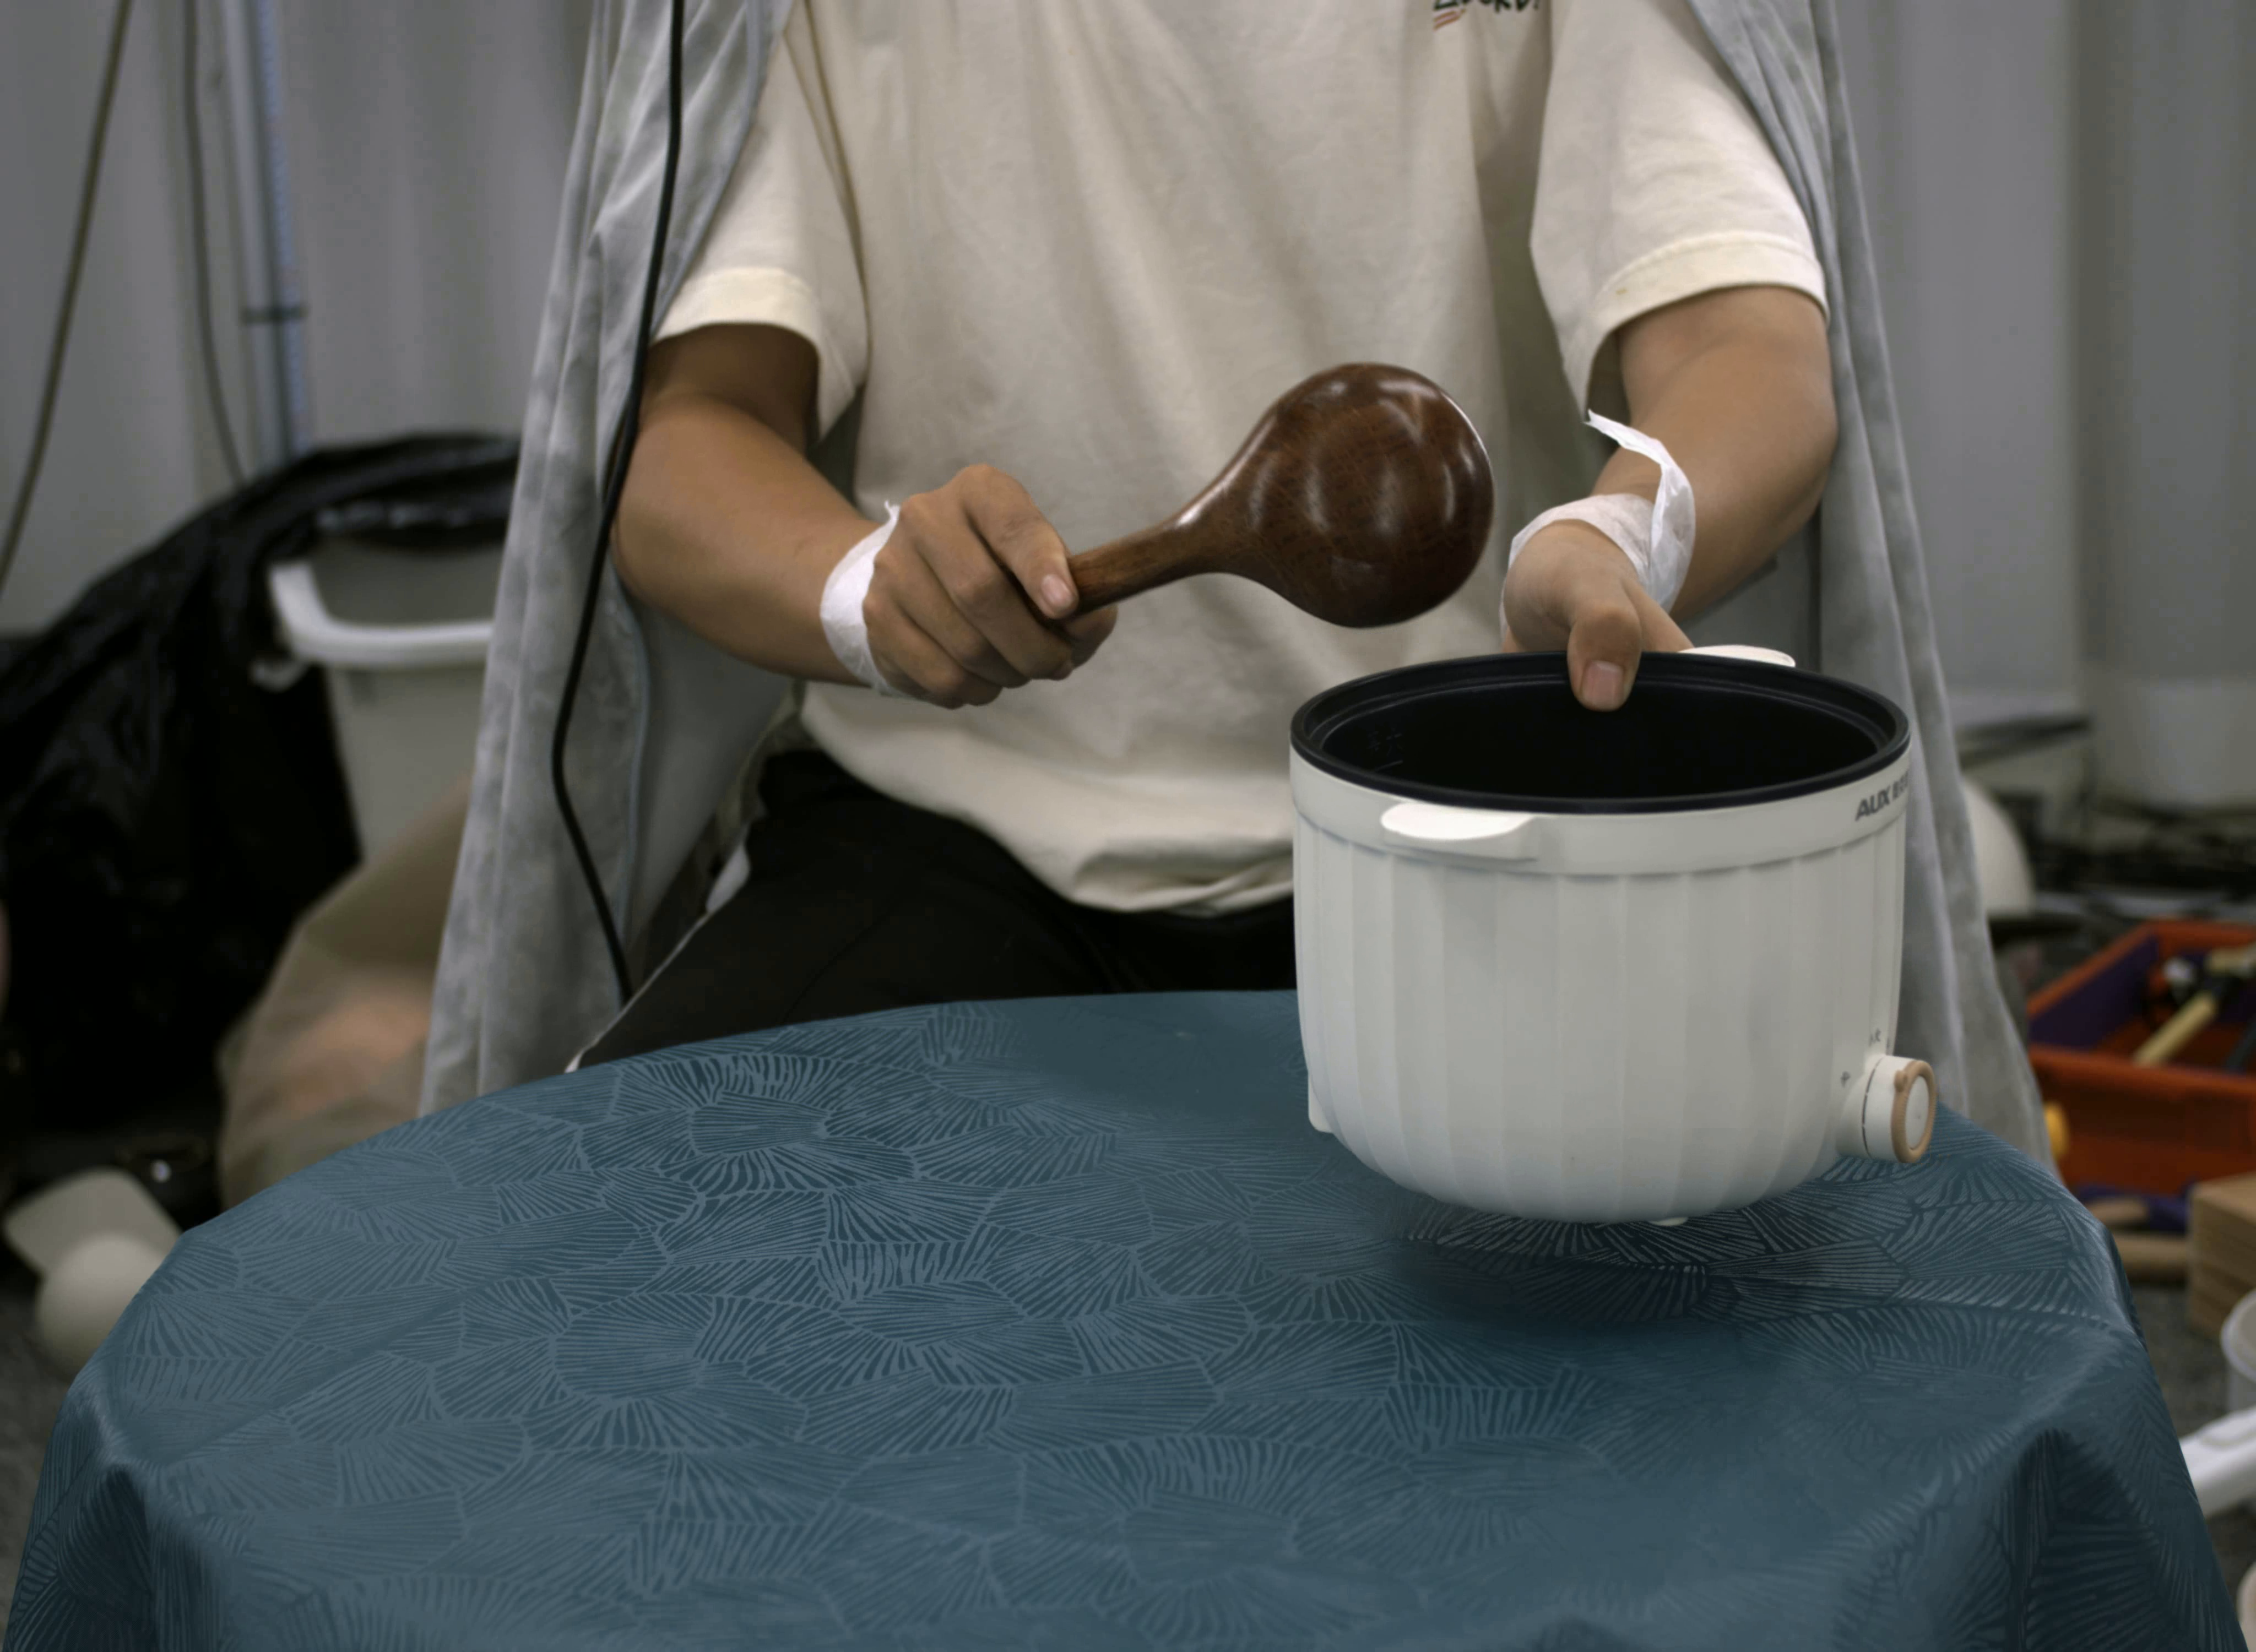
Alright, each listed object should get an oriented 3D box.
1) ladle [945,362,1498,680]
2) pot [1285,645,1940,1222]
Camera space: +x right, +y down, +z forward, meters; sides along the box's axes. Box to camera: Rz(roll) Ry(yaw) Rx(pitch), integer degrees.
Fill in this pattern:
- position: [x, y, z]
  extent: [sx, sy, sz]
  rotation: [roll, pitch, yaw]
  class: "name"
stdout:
- position: [0.027, -0.086, 1.764]
  extent: [0.076, 0.082, 0.274]
  rotation: [-3, -7, -25]
  class: "ladle"
- position: [0.144, 0.034, 1.613]
  extent: [0.191, 0.142, 0.241]
  rotation: [3, 16, 28]
  class: "pot"
